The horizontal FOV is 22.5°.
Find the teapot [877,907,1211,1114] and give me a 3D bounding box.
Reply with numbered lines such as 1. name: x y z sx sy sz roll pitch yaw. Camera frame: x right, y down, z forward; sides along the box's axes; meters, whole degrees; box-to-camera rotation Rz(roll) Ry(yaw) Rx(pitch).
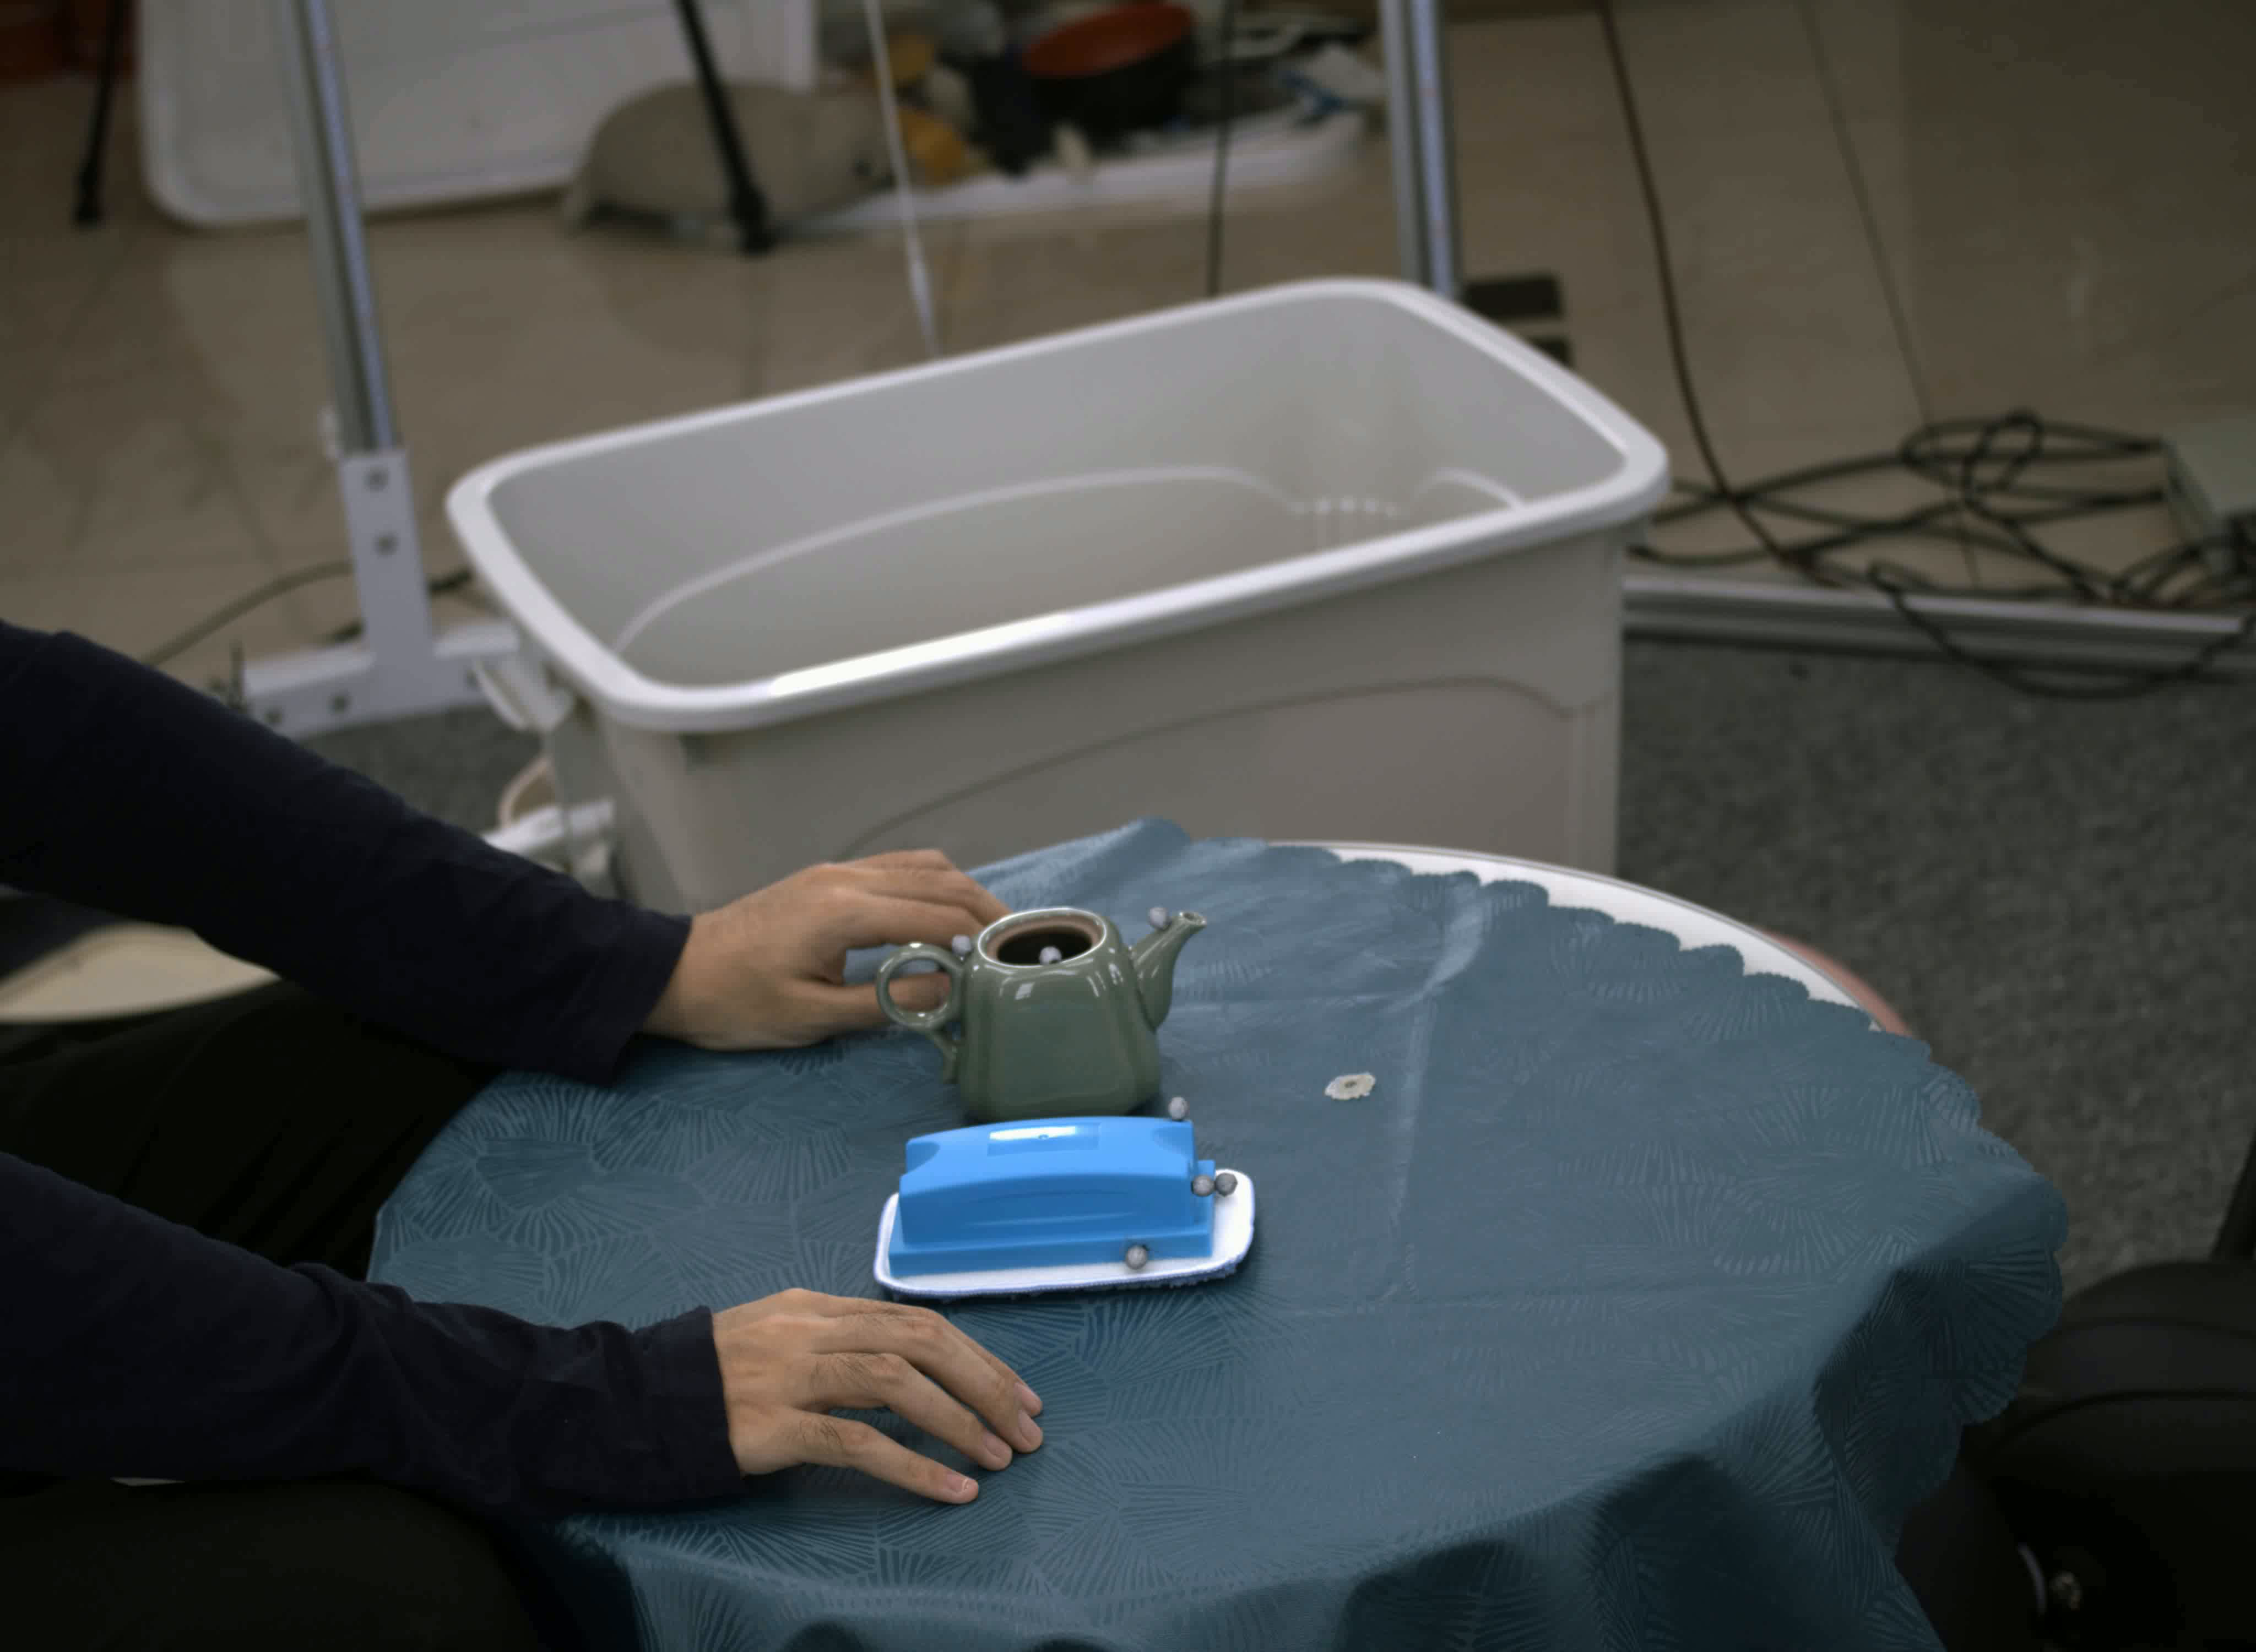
1. teapot: -0.029 0.073 2.209 0.132 0.076 0.078 -9 26 -1

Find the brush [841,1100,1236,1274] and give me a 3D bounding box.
1. brush: -0.033 0.132 2.097 0.144 0.057 0.083 0 22 6
